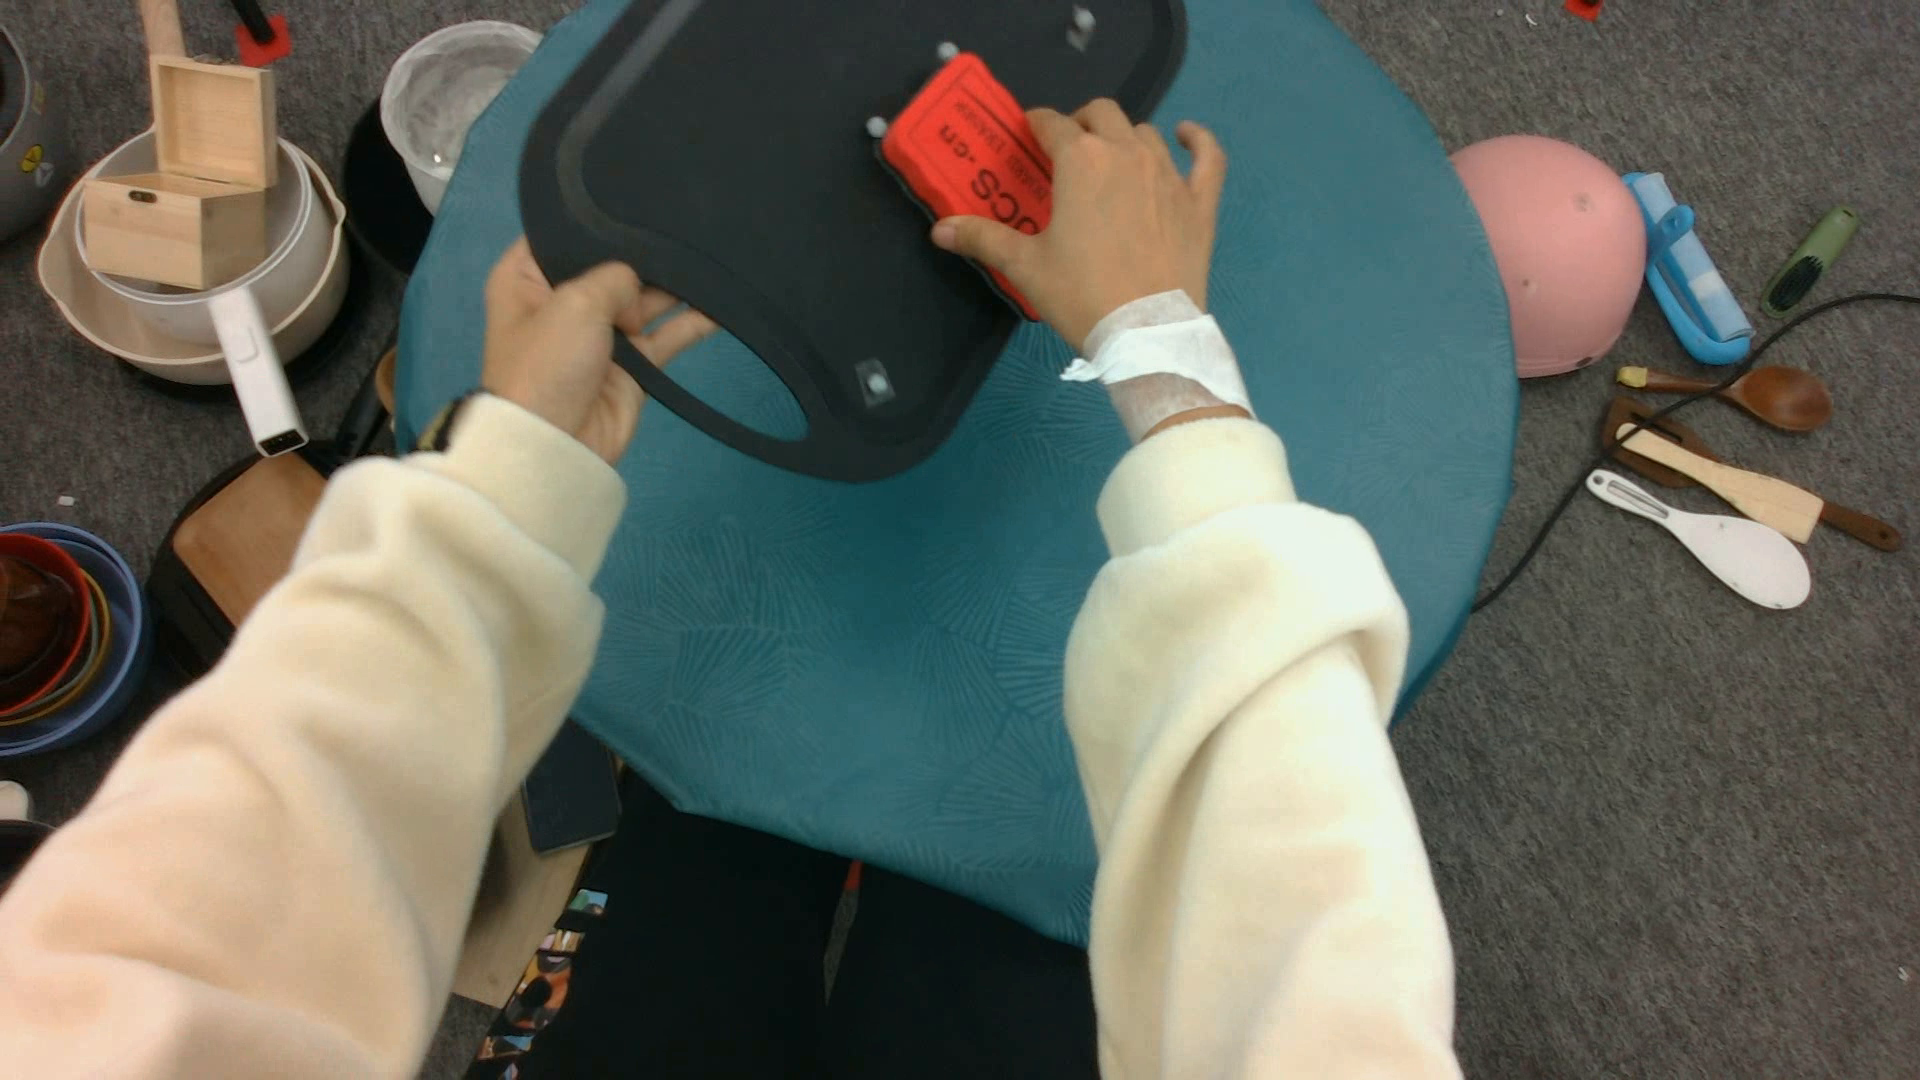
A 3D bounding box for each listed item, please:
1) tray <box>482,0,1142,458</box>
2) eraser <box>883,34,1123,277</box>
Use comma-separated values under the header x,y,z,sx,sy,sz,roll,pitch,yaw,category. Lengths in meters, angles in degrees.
x,y,z,sx,sy,sz,roll,pitch,yaw,category
-0.046,-0.196,0.580,0.211,0.010,0.326,38,70,-24,tray
0.021,-0.168,0.609,0.108,0.023,0.059,32,75,-28,eraser
